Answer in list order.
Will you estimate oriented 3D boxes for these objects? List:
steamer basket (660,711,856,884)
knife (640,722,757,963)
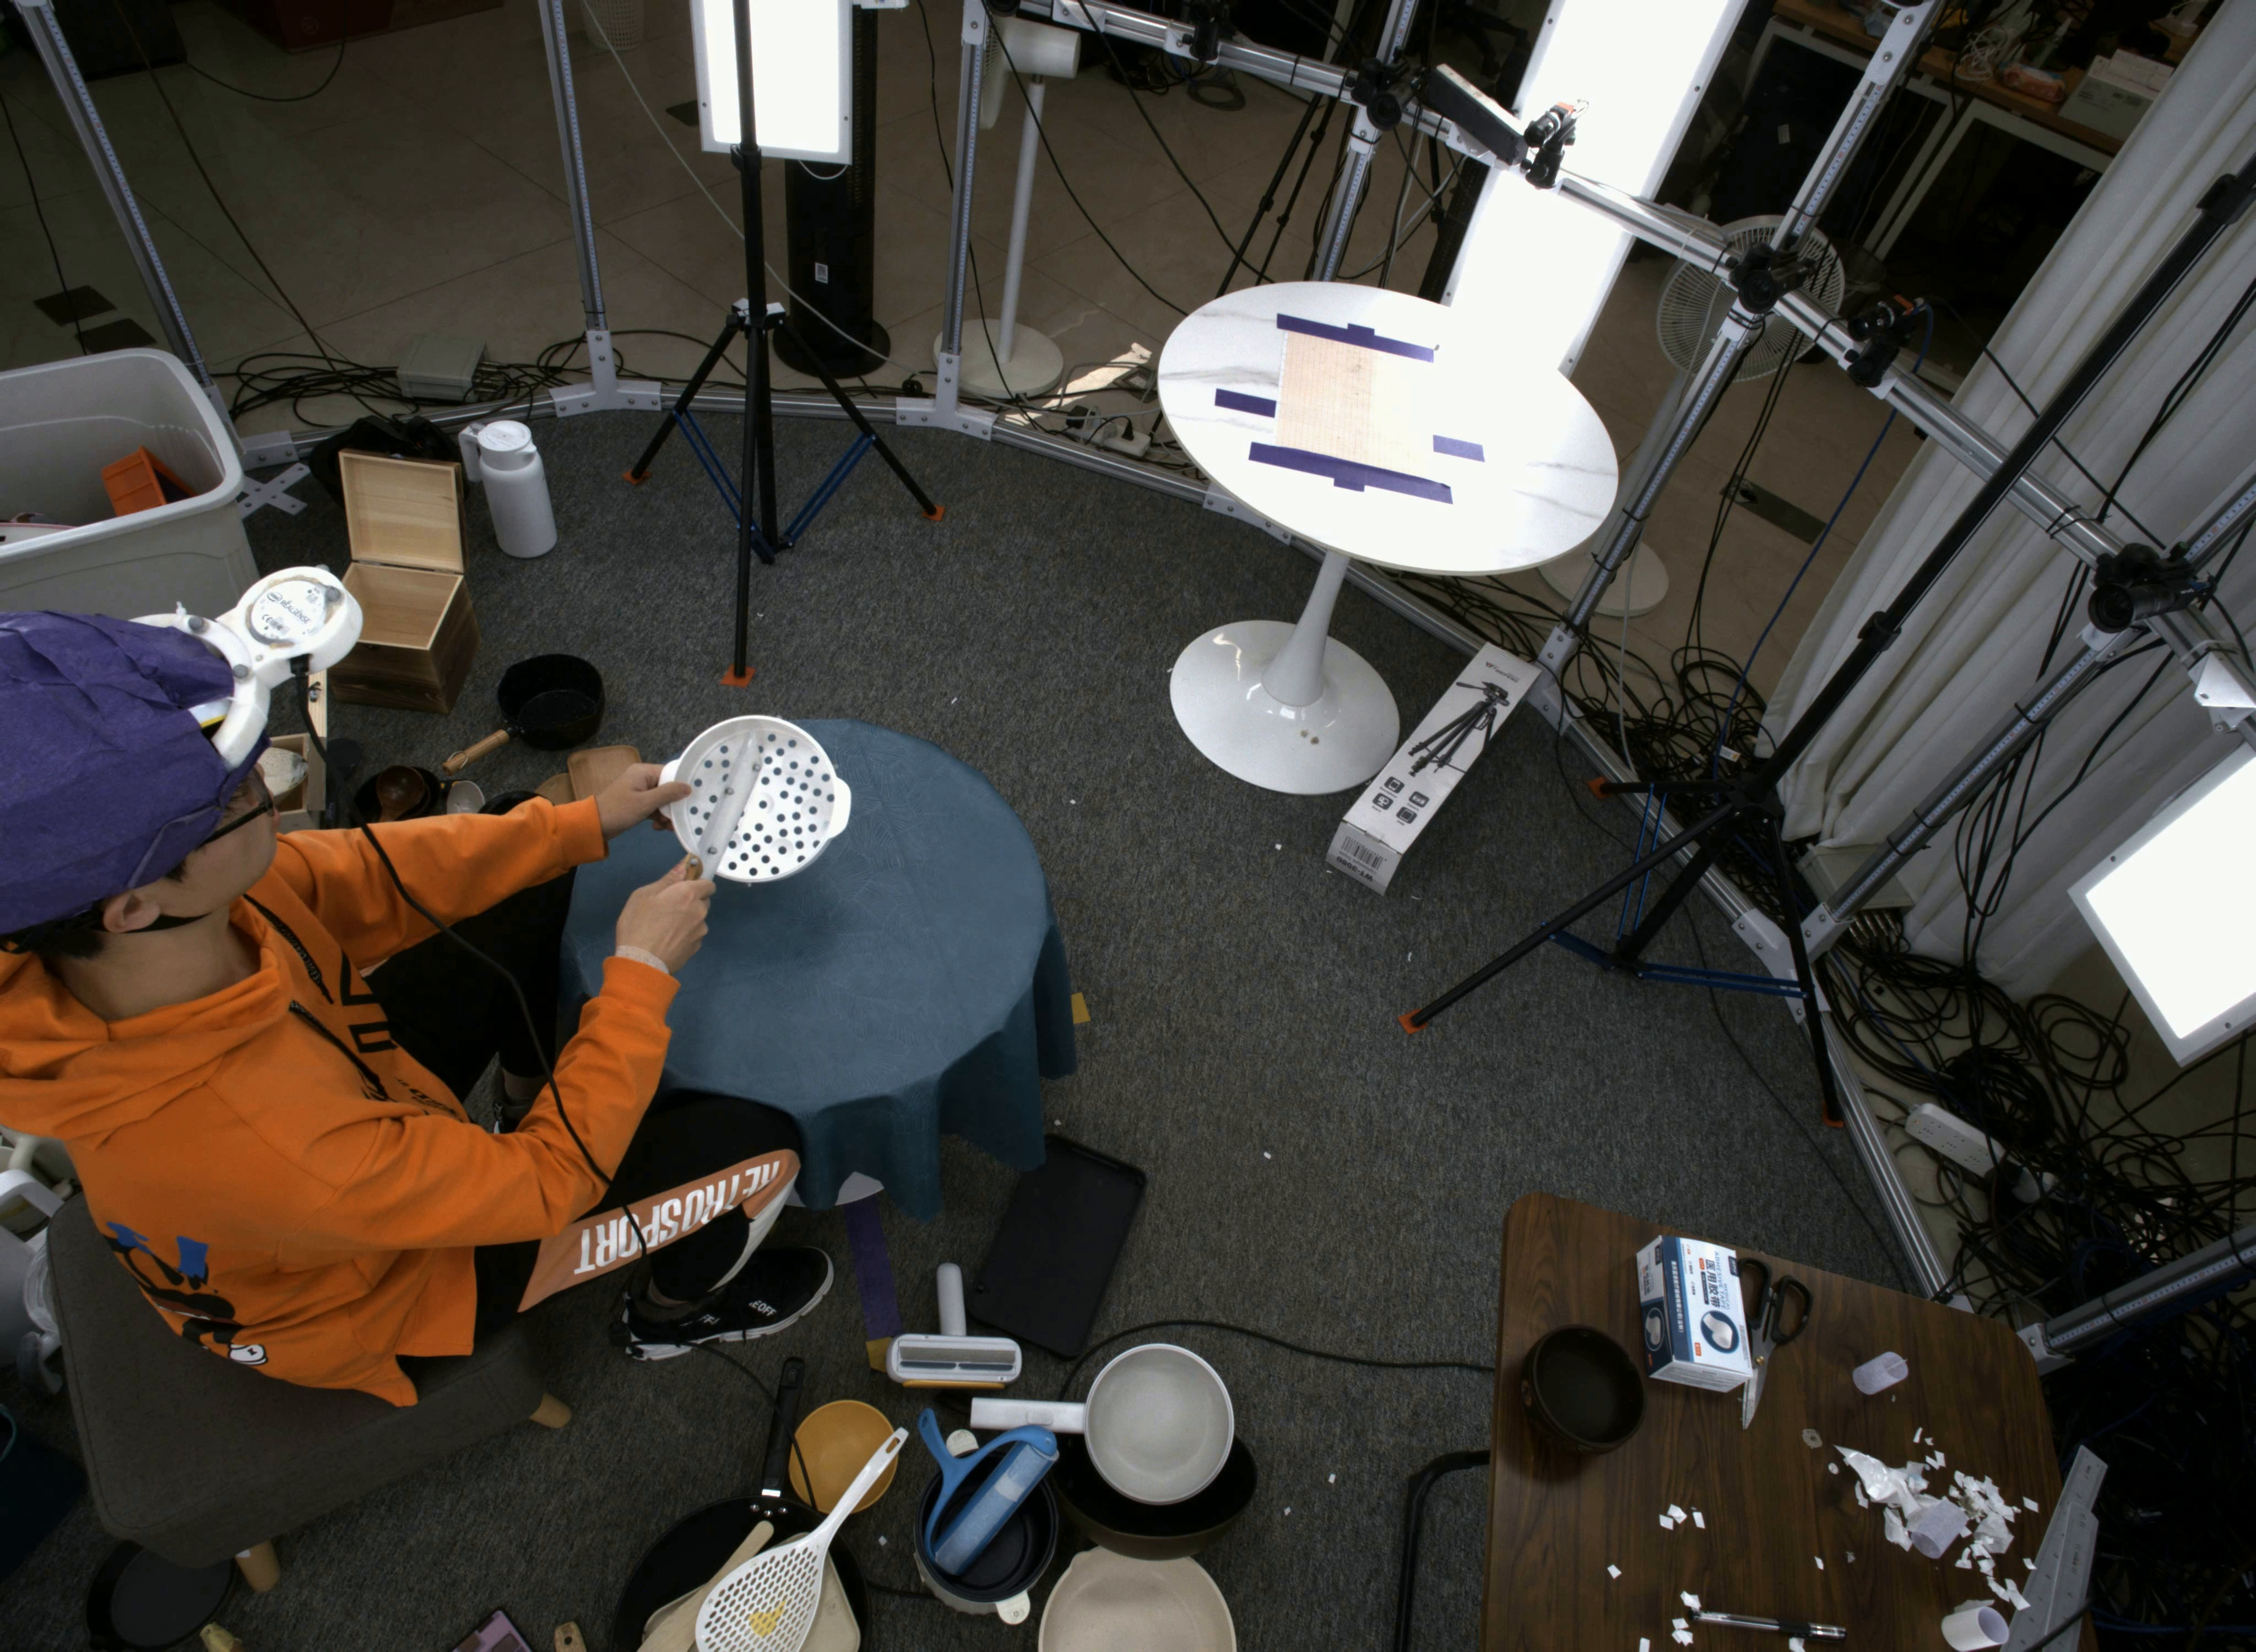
[{"bbox_3d":[-0.442,-0.033,1.559,0.230,0.069,0.203,5,85,-10],"label":"steamer basket"},{"bbox_3d":[-0.478,0.024,1.456,0.021,0.095,0.303,13,60,2],"label":"knife"}]
